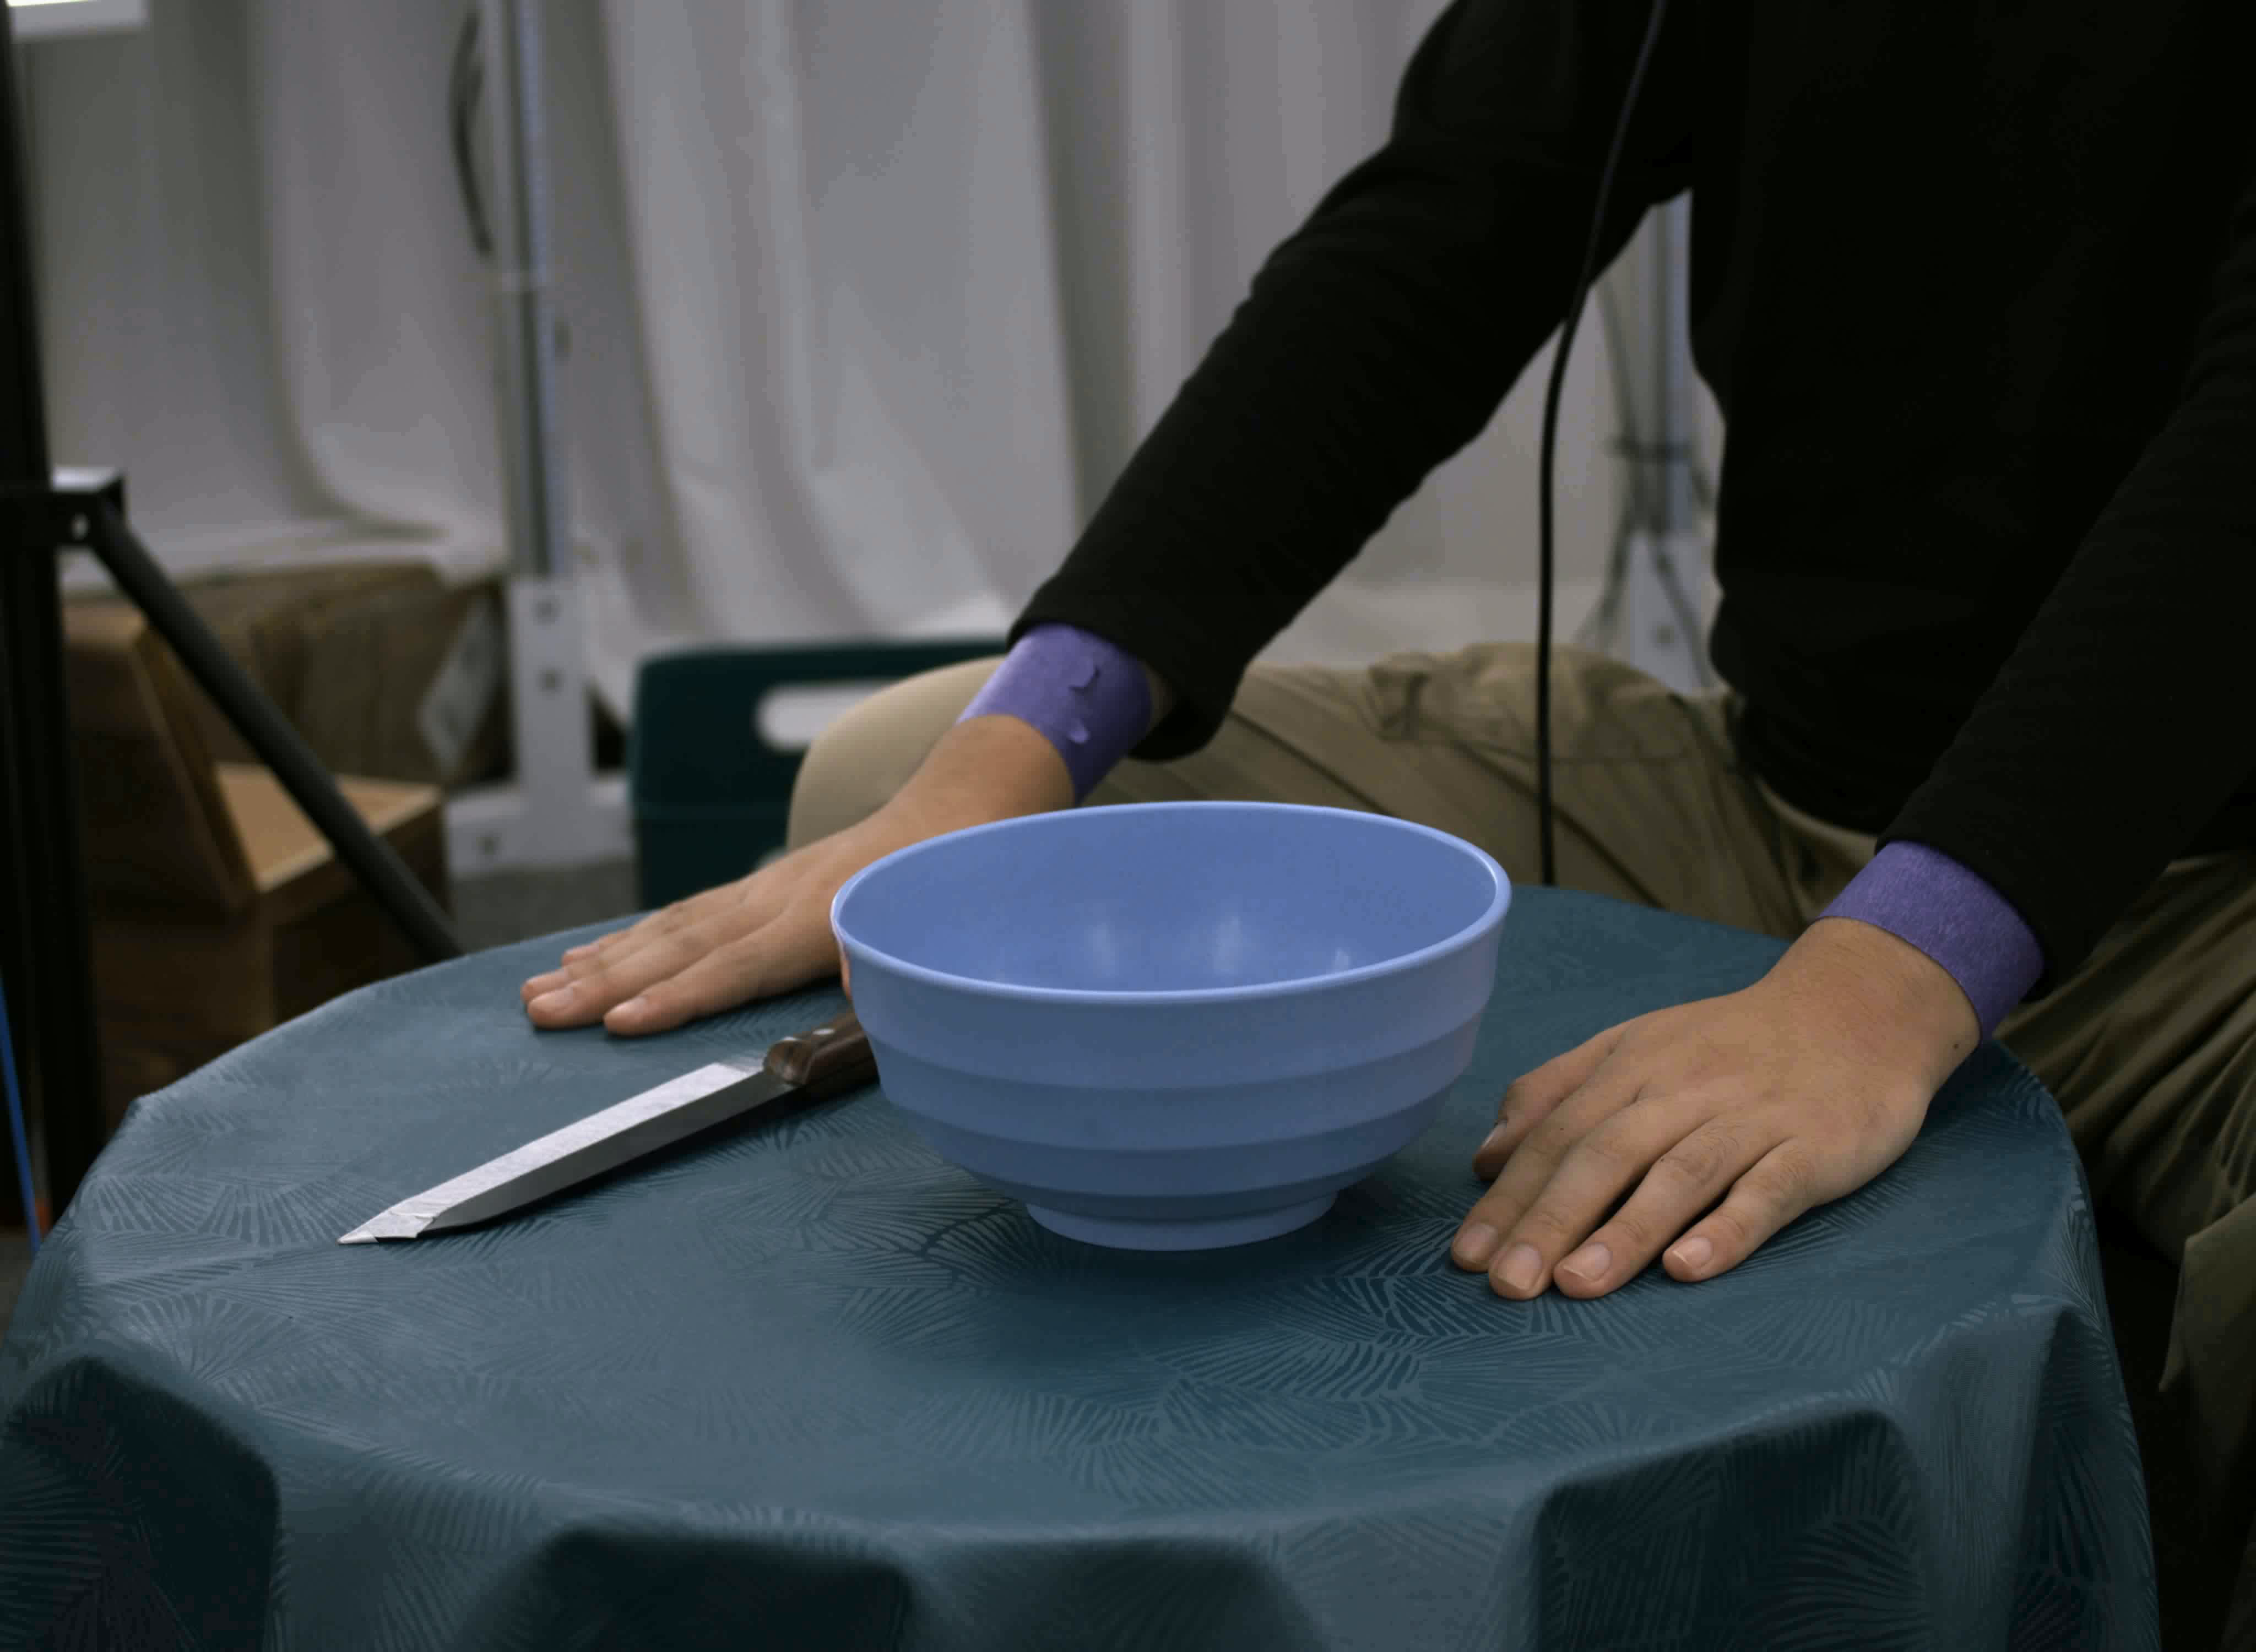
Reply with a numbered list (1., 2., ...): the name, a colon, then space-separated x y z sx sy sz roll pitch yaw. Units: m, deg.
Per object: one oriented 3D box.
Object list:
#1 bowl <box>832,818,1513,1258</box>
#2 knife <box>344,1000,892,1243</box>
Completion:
1. bowl: 0.014 0.066 1.536 0.195 0.095 0.197 -2 14 -1
2. knife: -0.125 0.083 1.636 0.283 0.020 0.051 -21 19 -41
